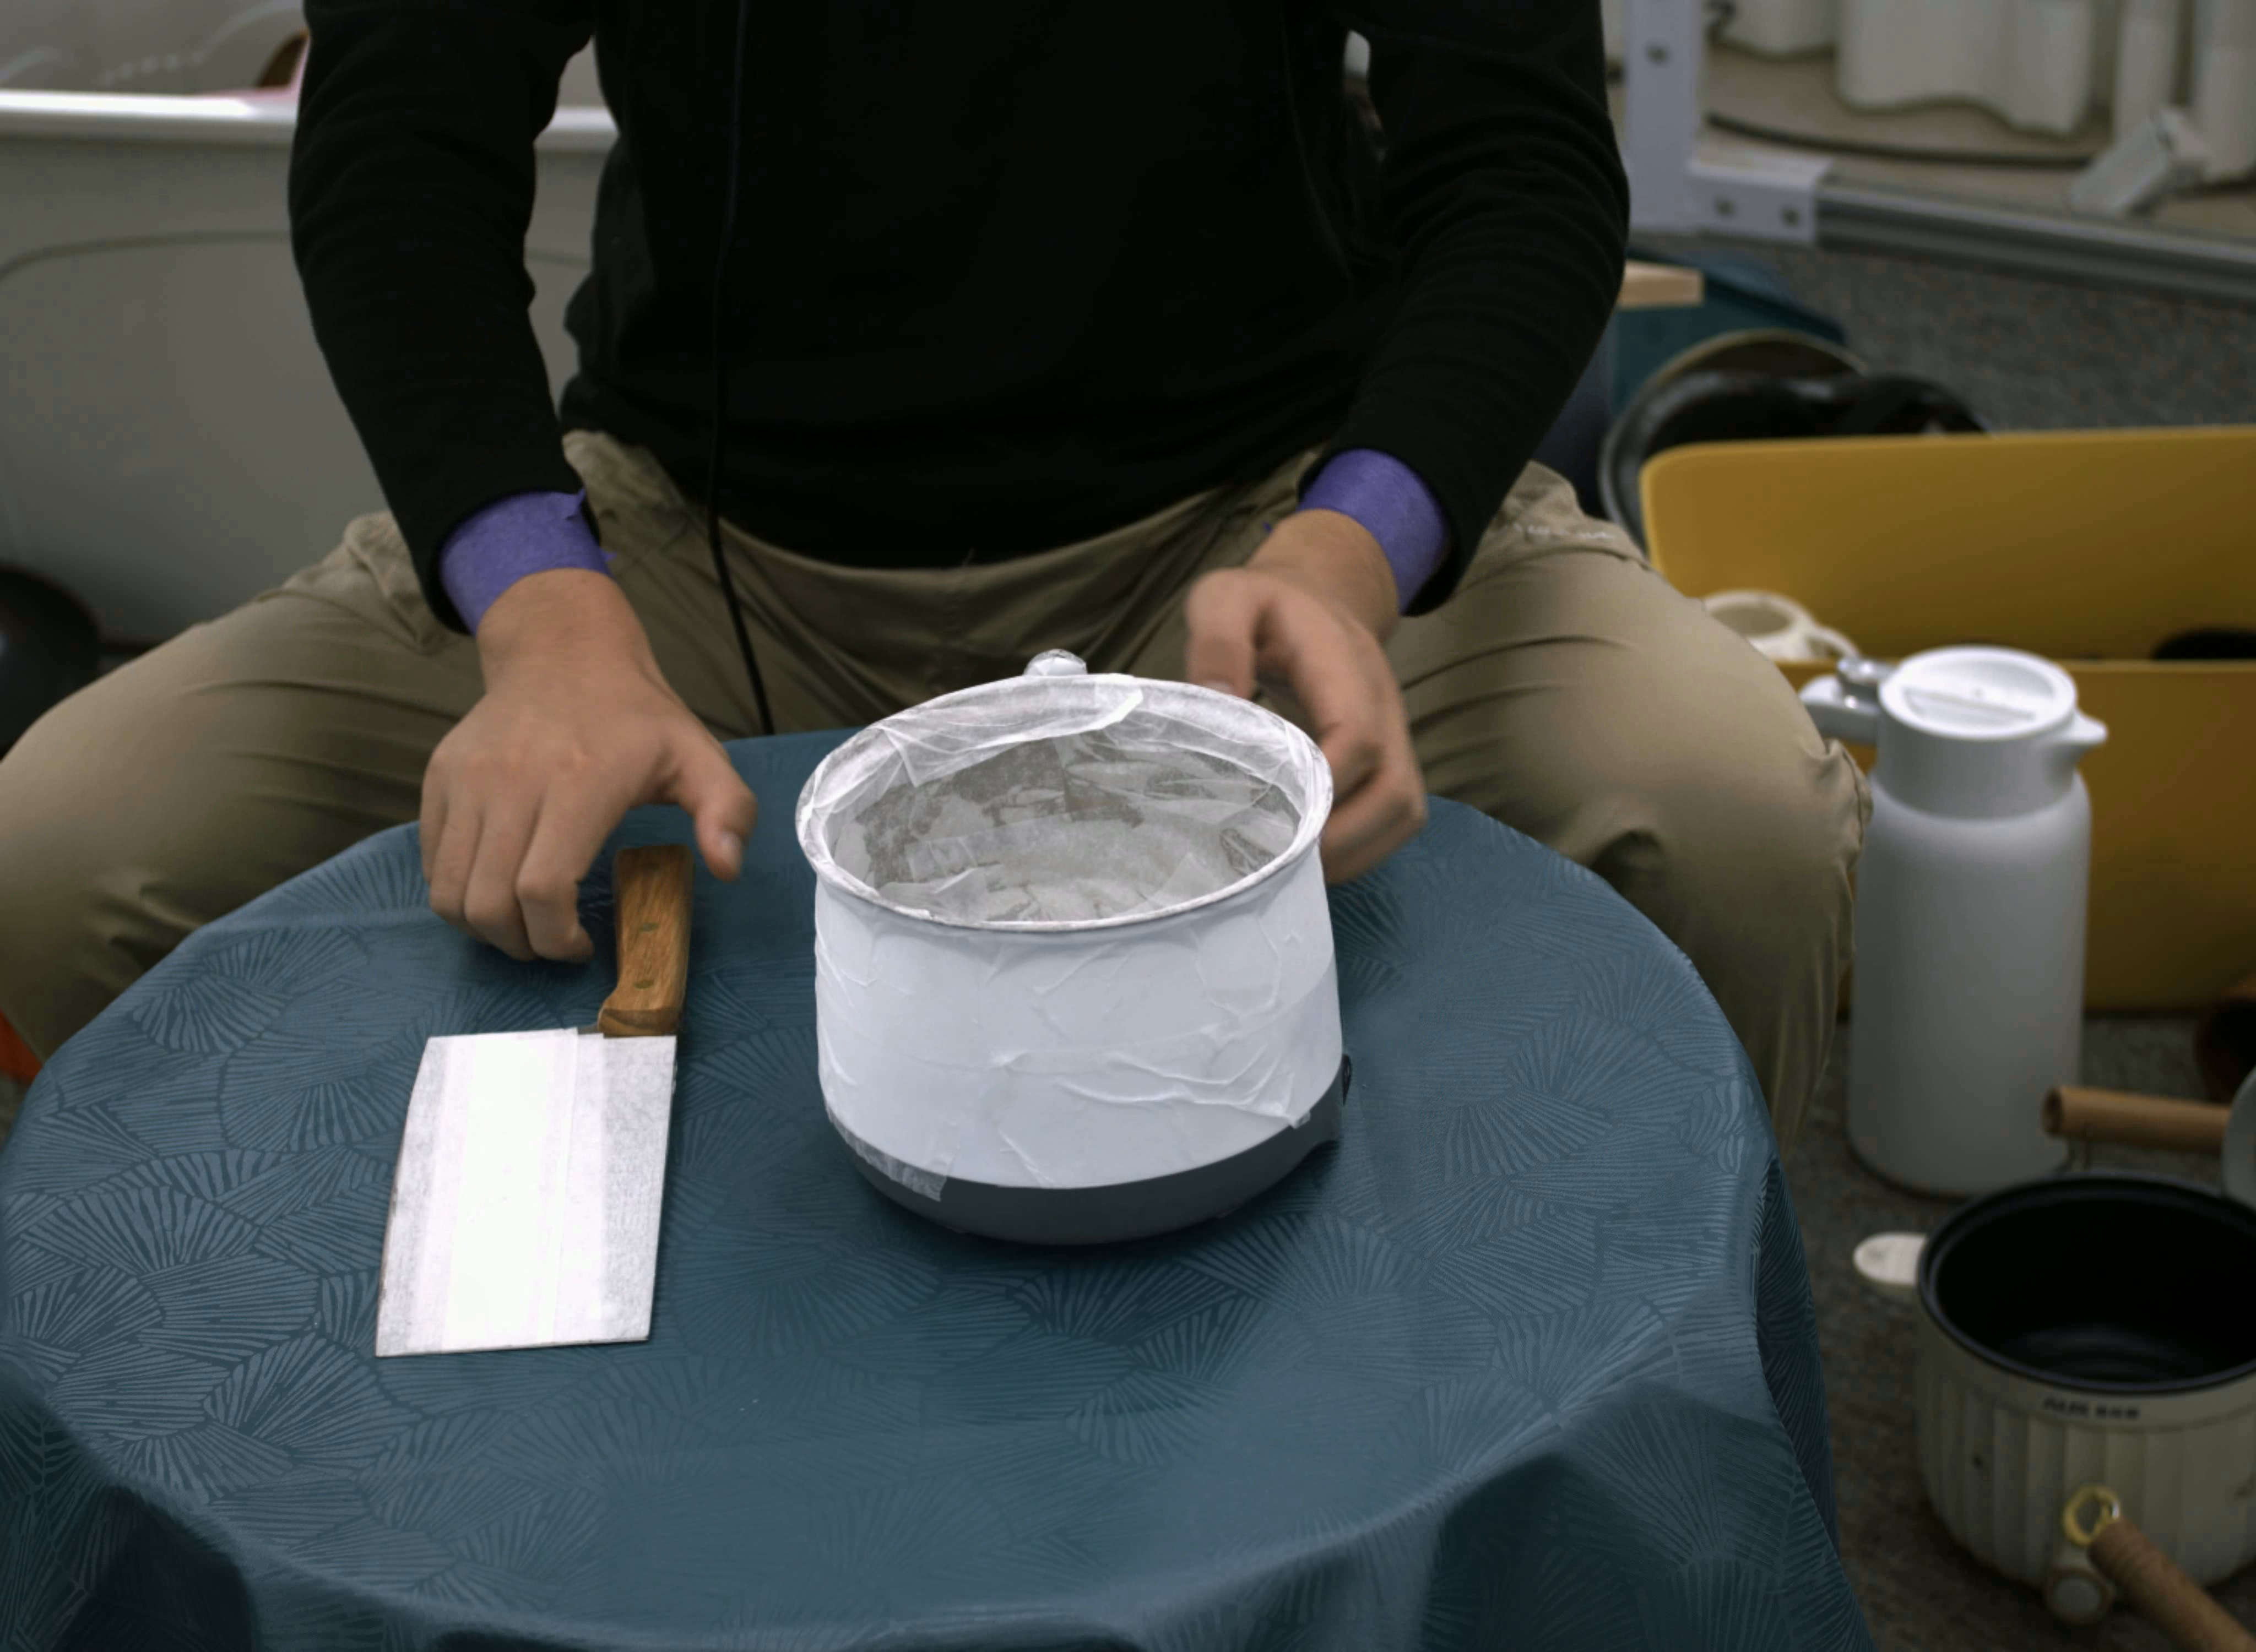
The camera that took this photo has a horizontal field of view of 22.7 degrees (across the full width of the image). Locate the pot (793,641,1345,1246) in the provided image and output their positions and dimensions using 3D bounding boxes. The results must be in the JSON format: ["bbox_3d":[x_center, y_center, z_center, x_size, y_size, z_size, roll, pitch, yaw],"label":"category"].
[{"bbox_3d":[-0.020,0.032,1.884,0.178,0.135,0.237,-4,28,-3],"label":"pot"}]

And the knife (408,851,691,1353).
[{"bbox_3d":[-0.198,0.092,1.921,0.092,0.021,0.310,-3,29,0],"label":"knife"}]
